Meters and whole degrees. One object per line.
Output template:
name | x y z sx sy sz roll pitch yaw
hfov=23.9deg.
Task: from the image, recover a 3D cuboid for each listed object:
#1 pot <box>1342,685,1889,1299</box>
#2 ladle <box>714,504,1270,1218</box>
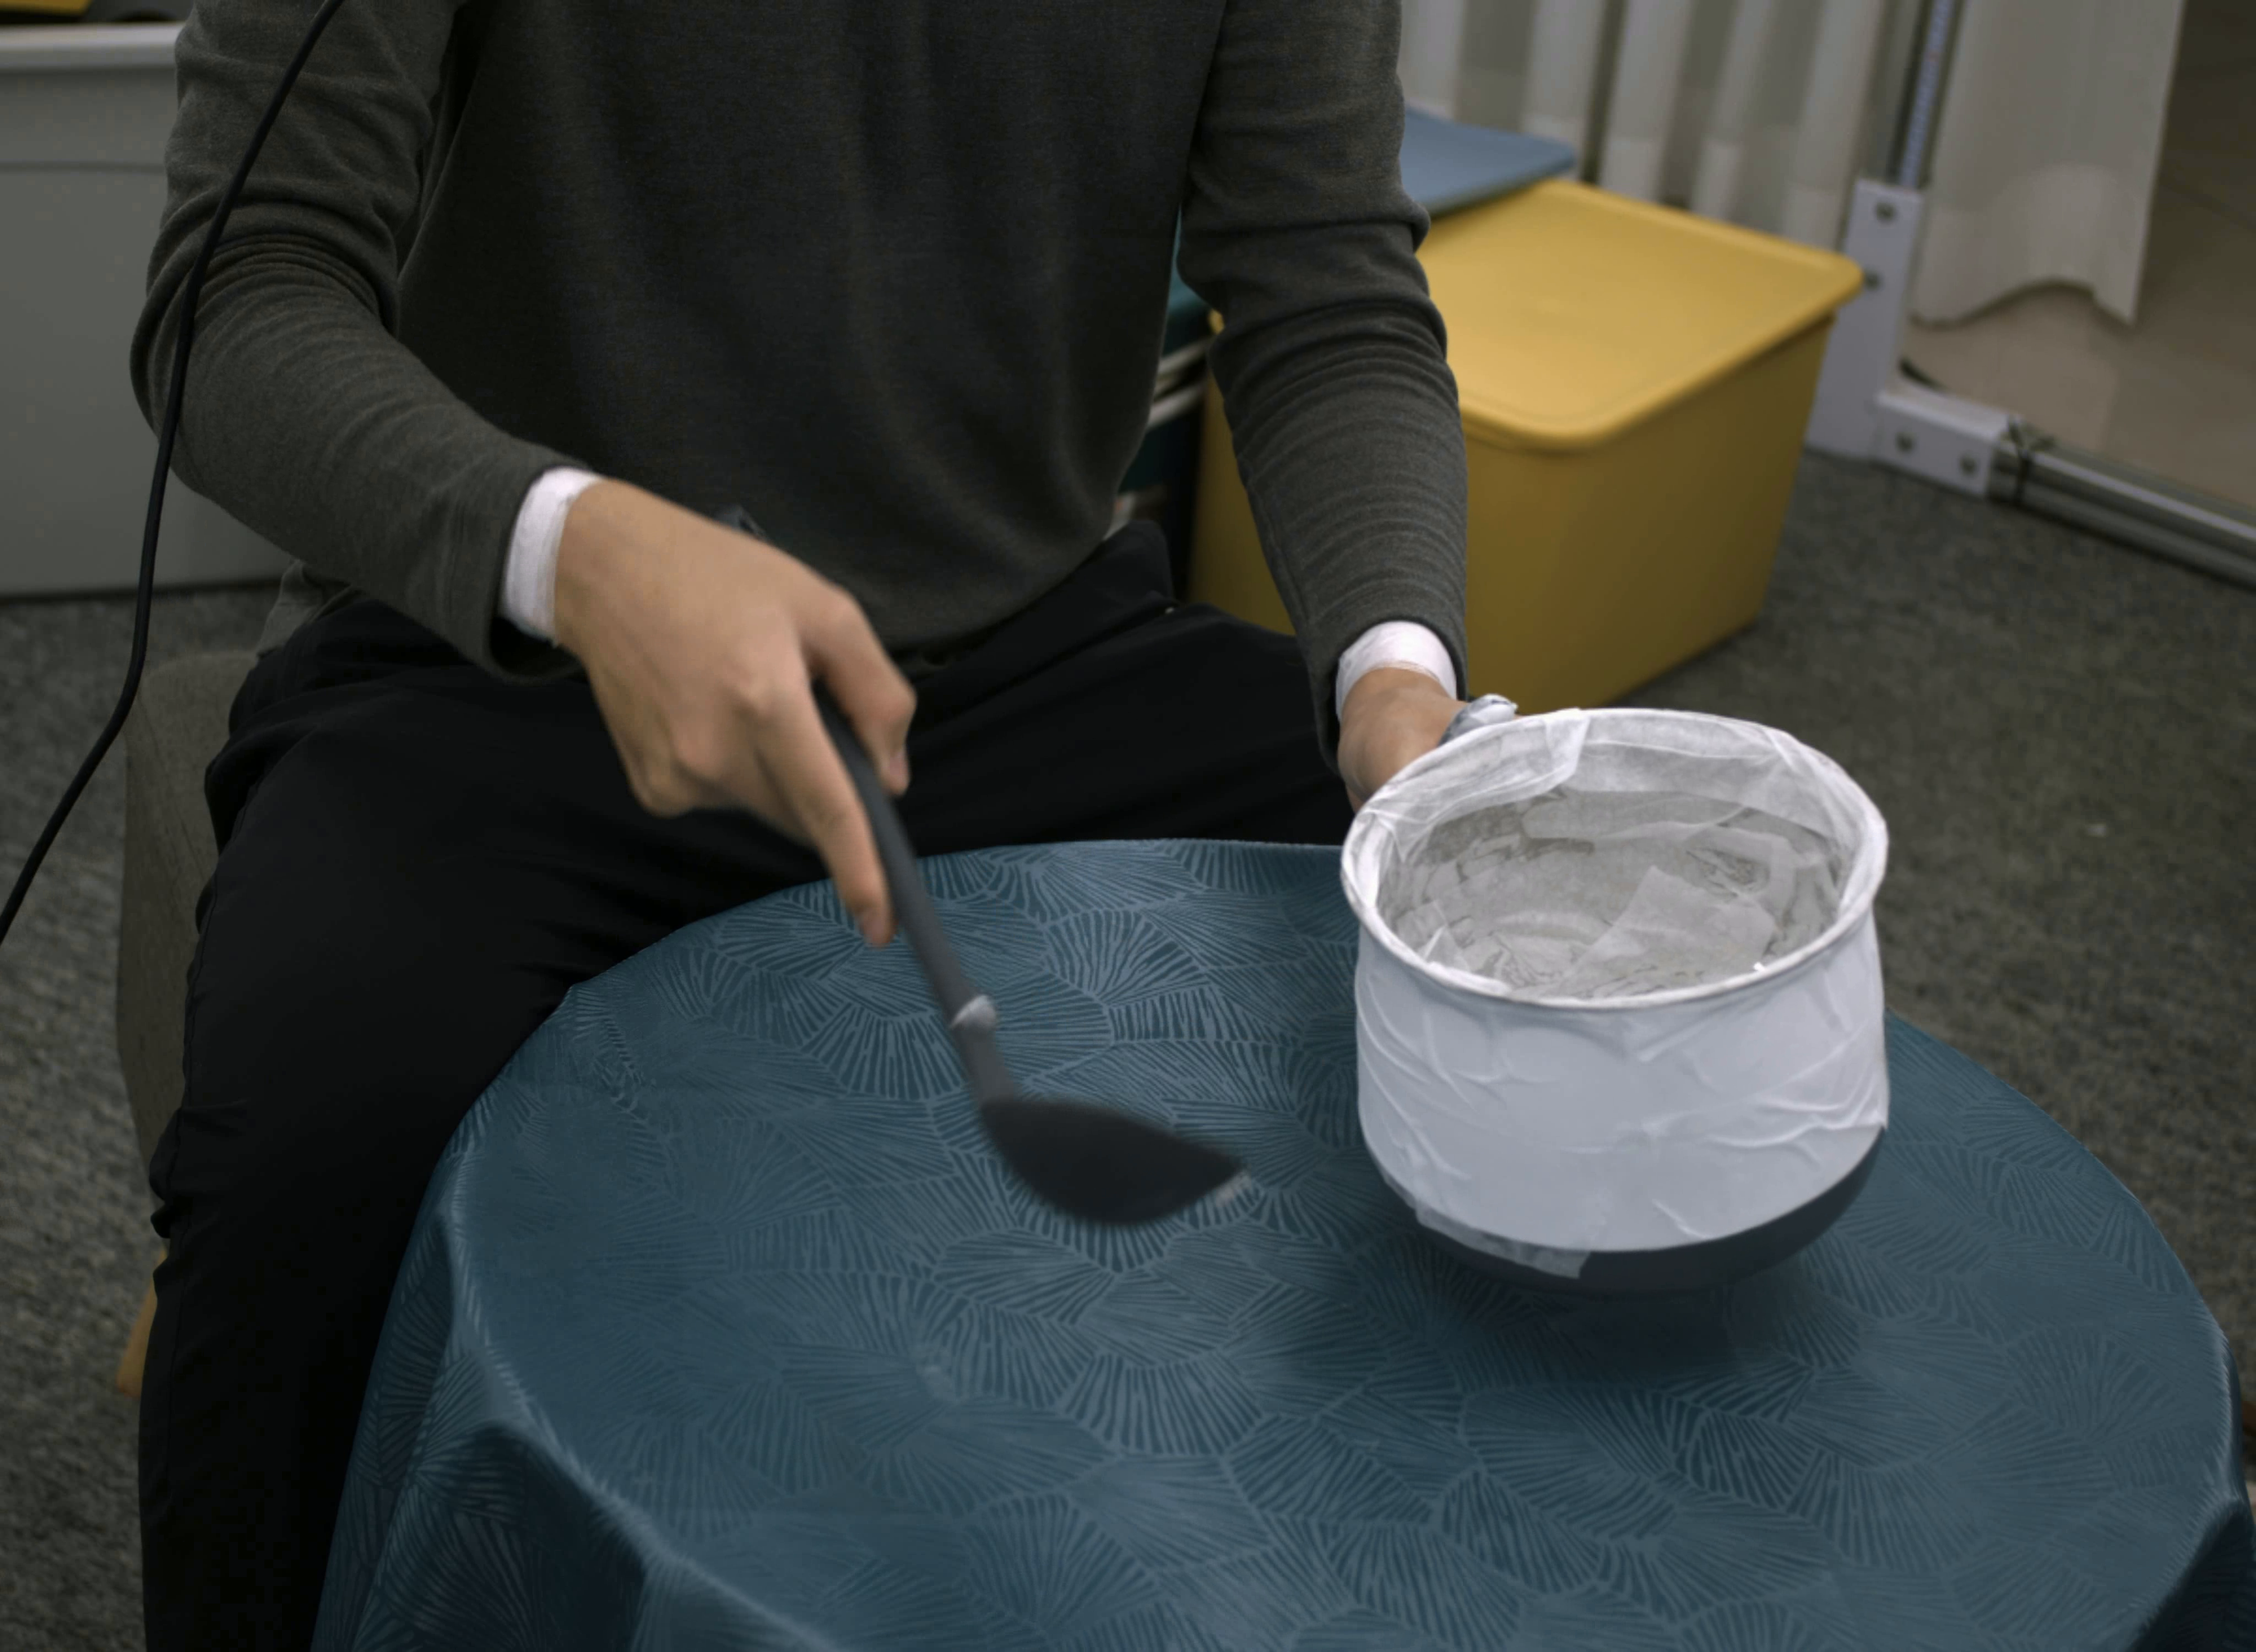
pot | 0.151 0.046 1.774 0.178 0.136 0.236 -15 34 -15
ladle | -0.053 -0.003 1.666 0.085 0.064 0.317 27 28 -51
